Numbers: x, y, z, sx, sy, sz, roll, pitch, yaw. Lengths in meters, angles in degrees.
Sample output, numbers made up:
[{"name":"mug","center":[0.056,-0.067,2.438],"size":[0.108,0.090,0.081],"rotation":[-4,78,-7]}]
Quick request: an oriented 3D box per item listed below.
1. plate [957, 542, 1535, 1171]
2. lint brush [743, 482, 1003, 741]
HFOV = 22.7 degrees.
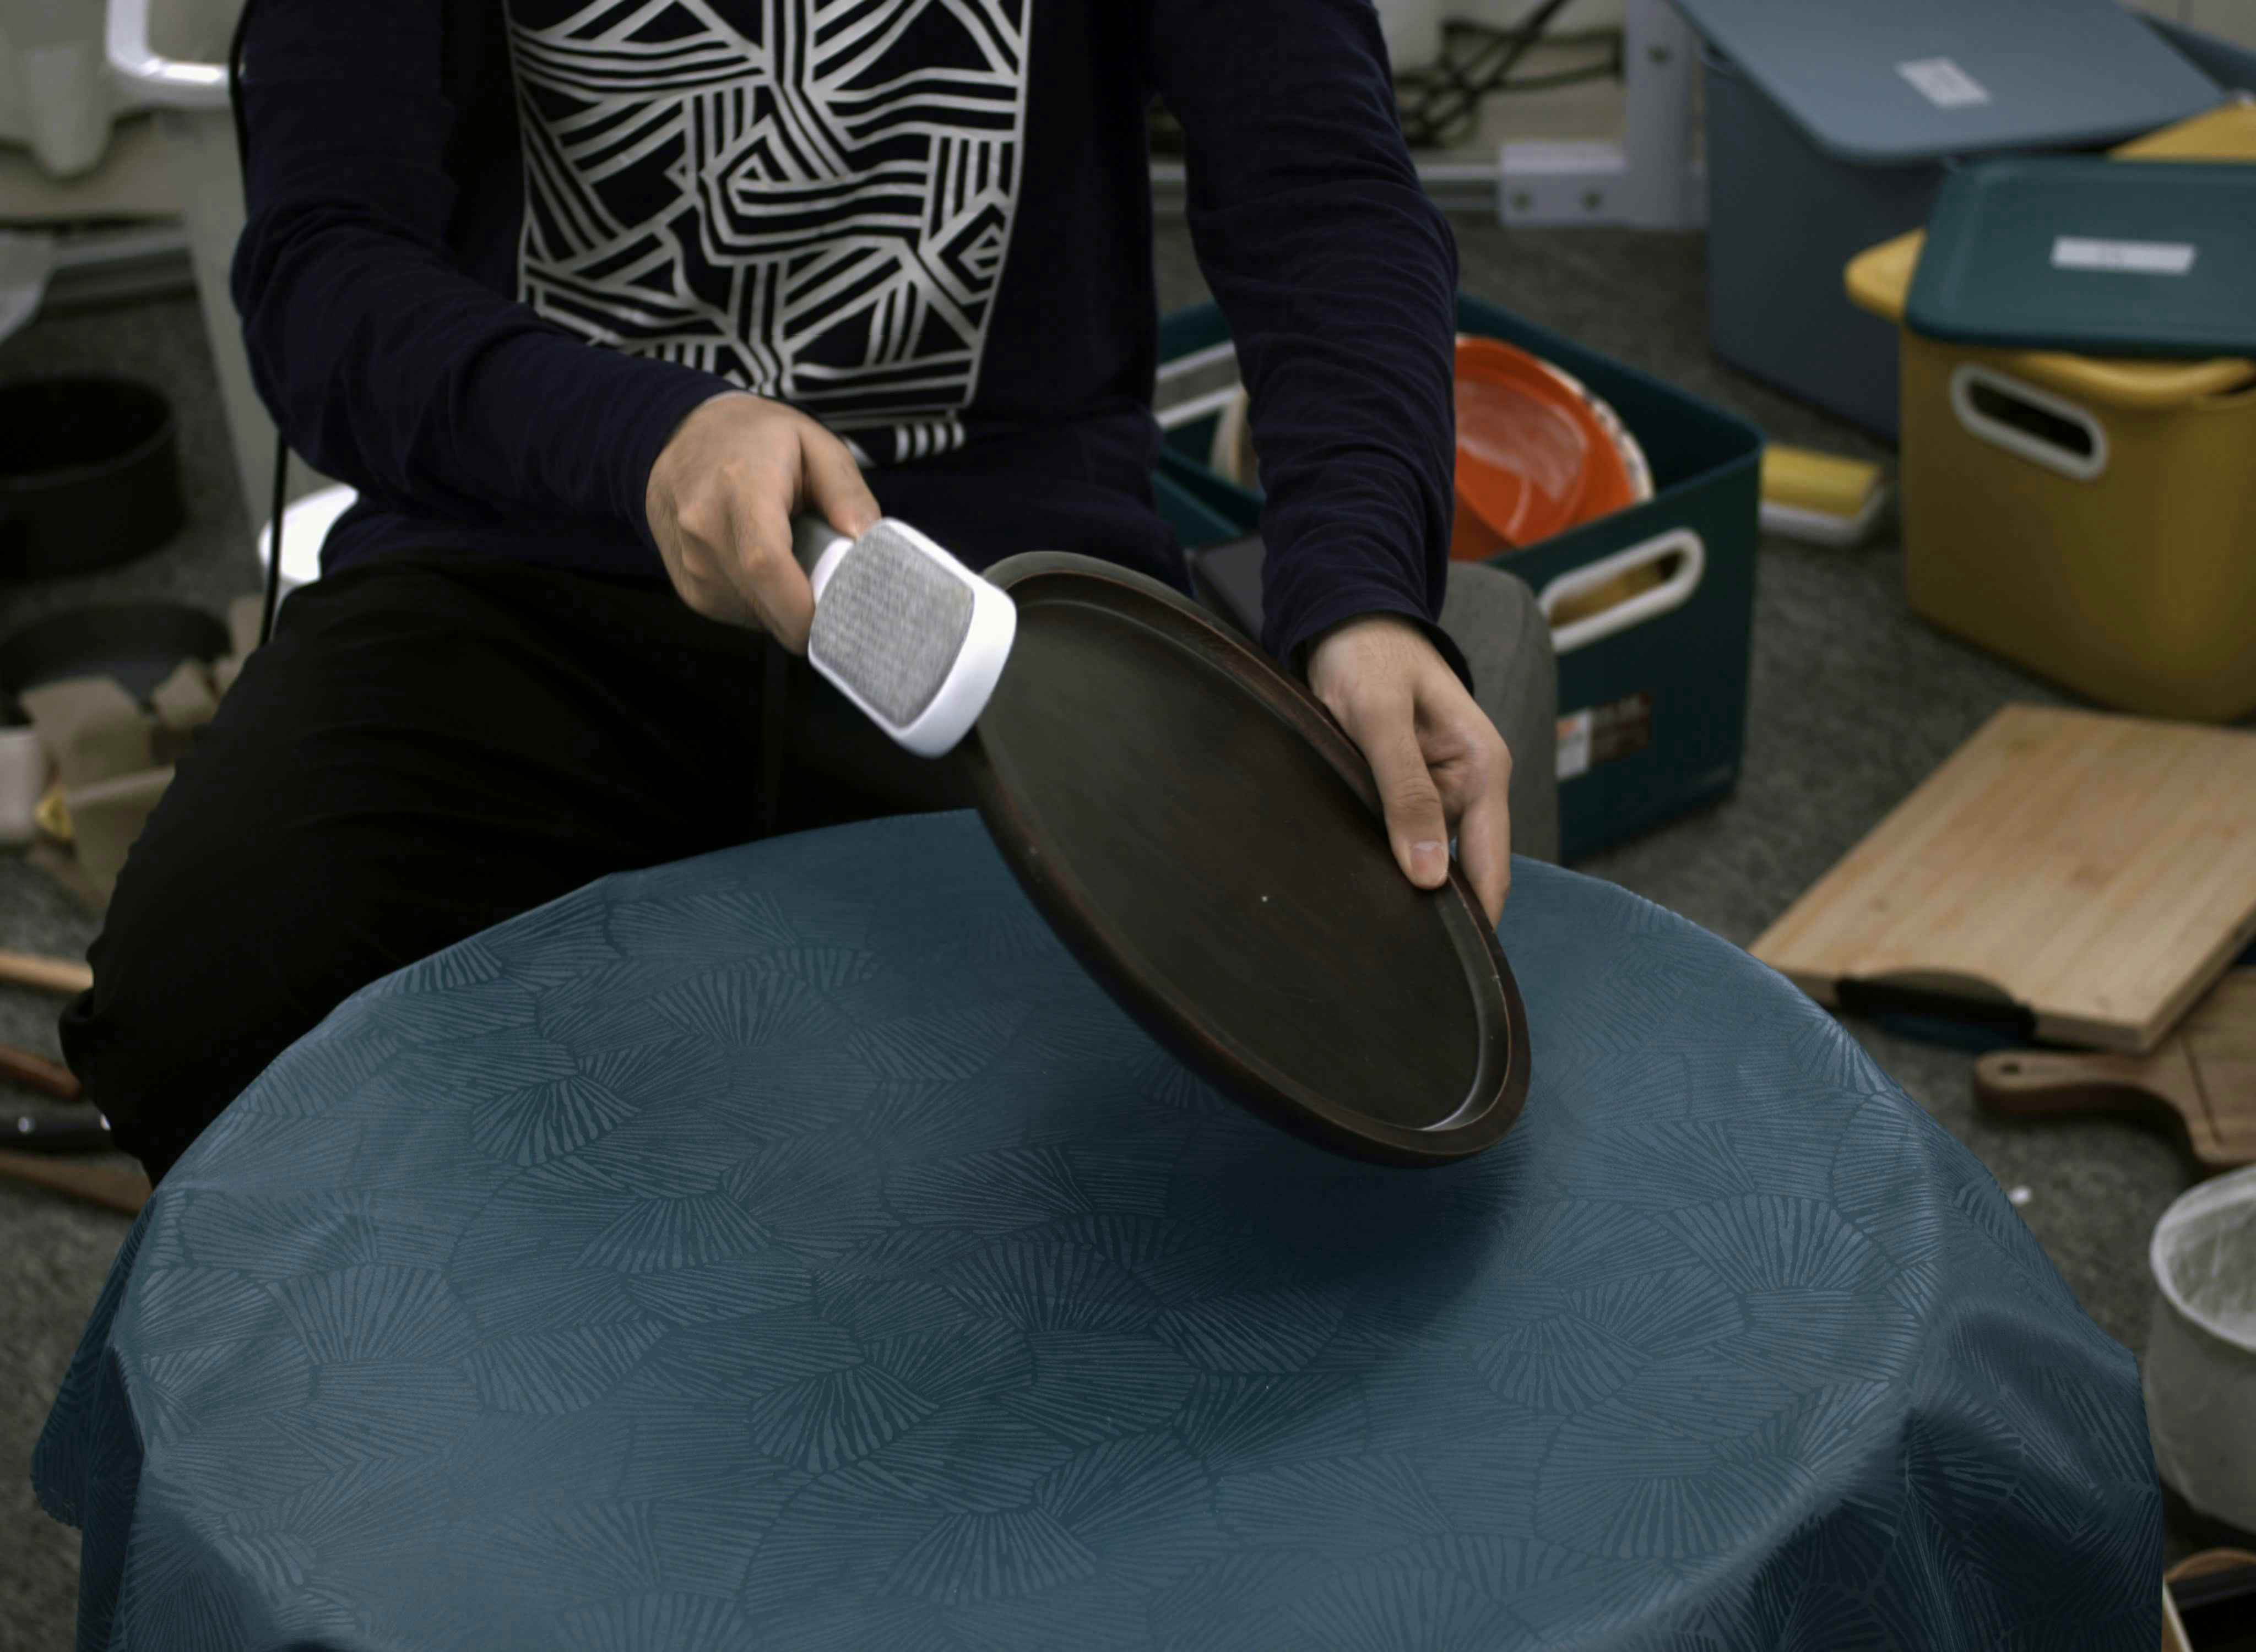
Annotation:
[{"name":"plate","center":[0.037,0.010,1.843],"size":[0.028,0.254,0.259],"rotation":[-41,16,24]},{"name":"lint brush","center":[-0.089,-0.081,1.871],"size":[0.021,0.060,0.310],"rotation":[23,5,-18]}]
